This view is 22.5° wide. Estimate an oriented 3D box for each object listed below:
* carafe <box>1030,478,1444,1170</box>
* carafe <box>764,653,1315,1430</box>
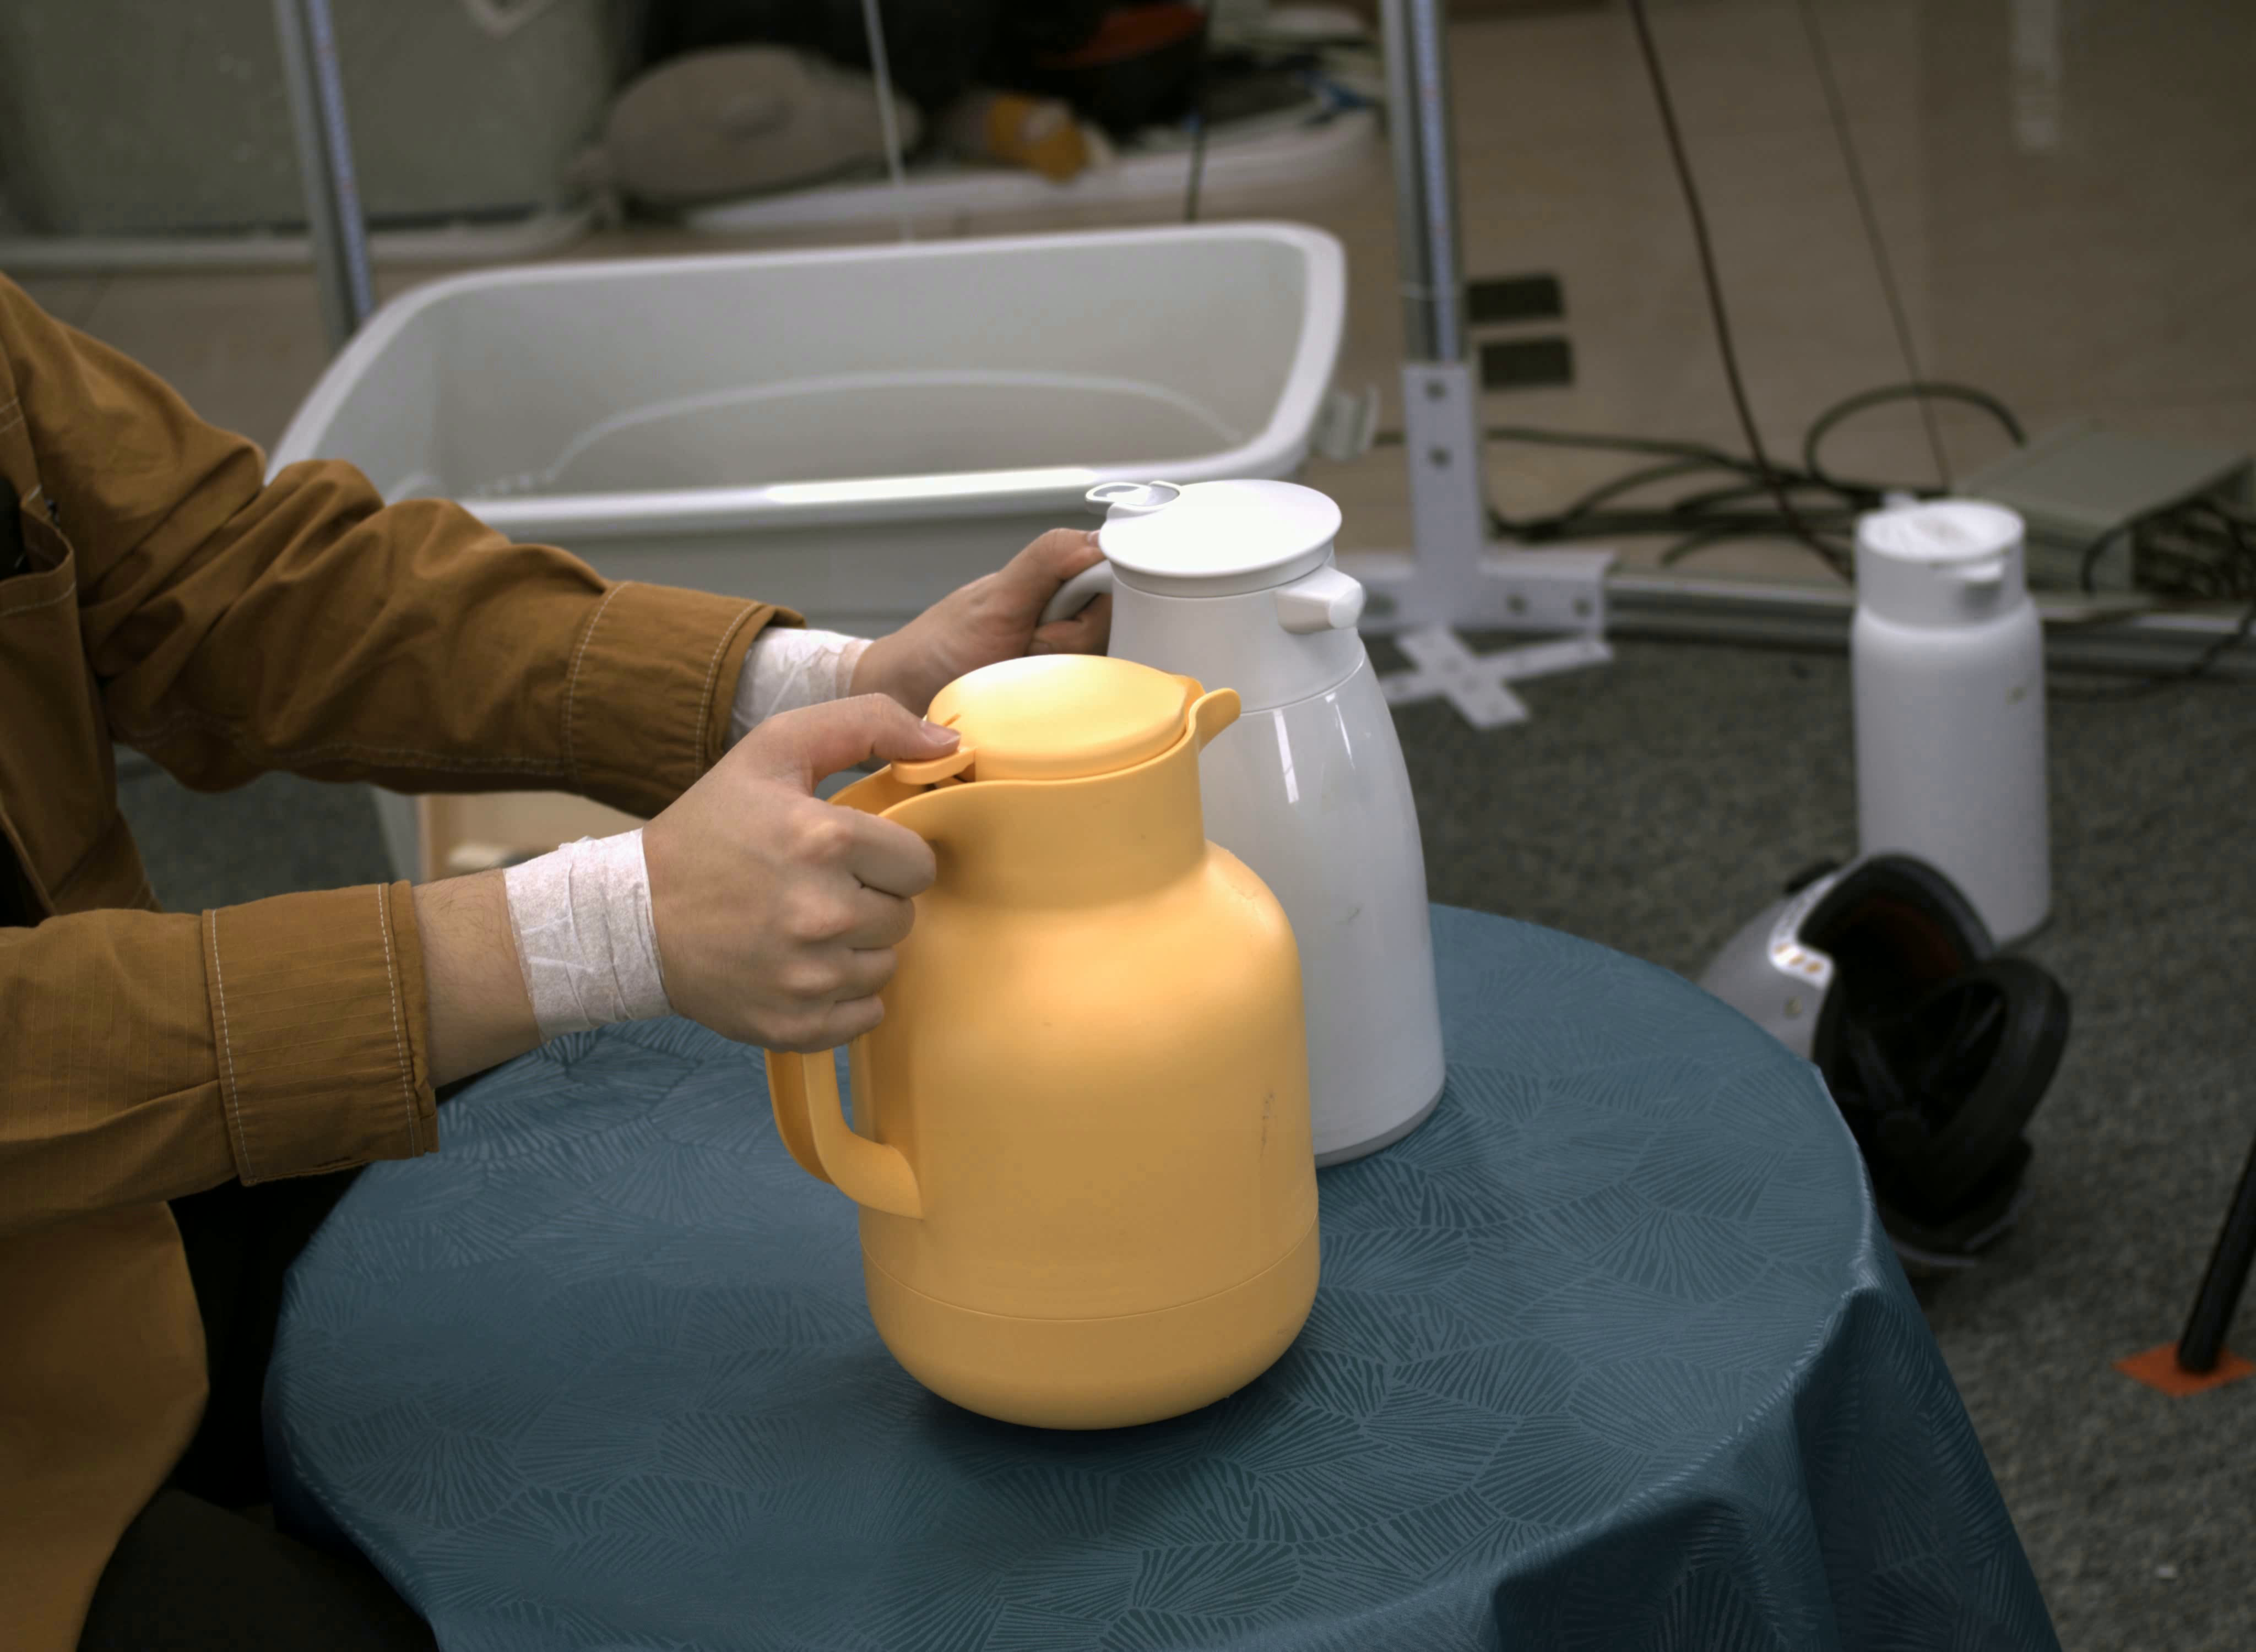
[{"bbox_3d":[0.031,-0.010,2.164,0.166,0.252,0.131,16,34,40],"label":"carafe"},{"bbox_3d":[-0.035,0.075,1.973,0.201,0.264,0.162,-18,27,-31],"label":"carafe"}]
